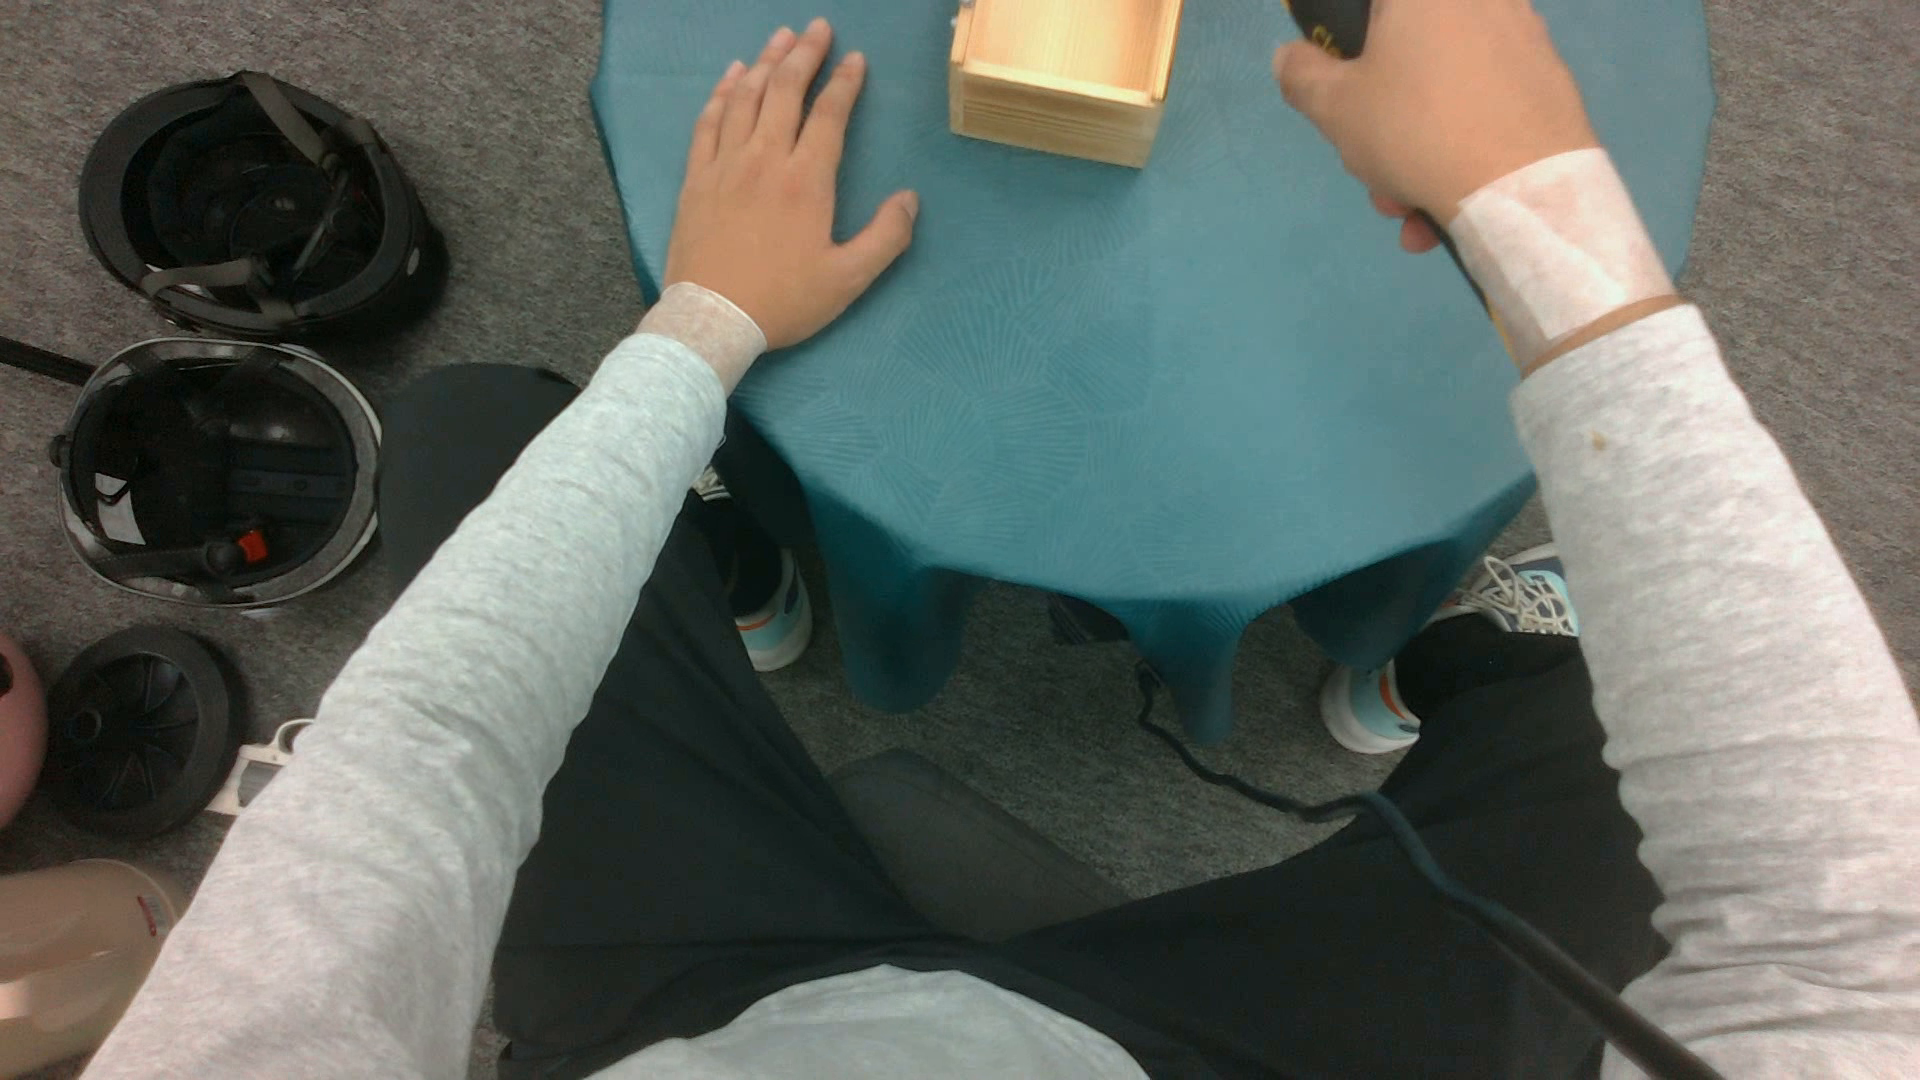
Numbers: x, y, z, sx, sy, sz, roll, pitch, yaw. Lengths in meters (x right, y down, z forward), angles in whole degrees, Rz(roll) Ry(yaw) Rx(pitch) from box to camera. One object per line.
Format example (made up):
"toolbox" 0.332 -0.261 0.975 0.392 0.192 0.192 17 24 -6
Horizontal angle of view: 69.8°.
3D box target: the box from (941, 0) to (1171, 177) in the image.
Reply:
"box" 0.060 -0.313 0.726 0.107 0.080 0.211 9 82 1

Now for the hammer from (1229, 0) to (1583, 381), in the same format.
"hammer" 0.127 -0.204 0.540 0.032 0.131 0.339 -29 75 -10
